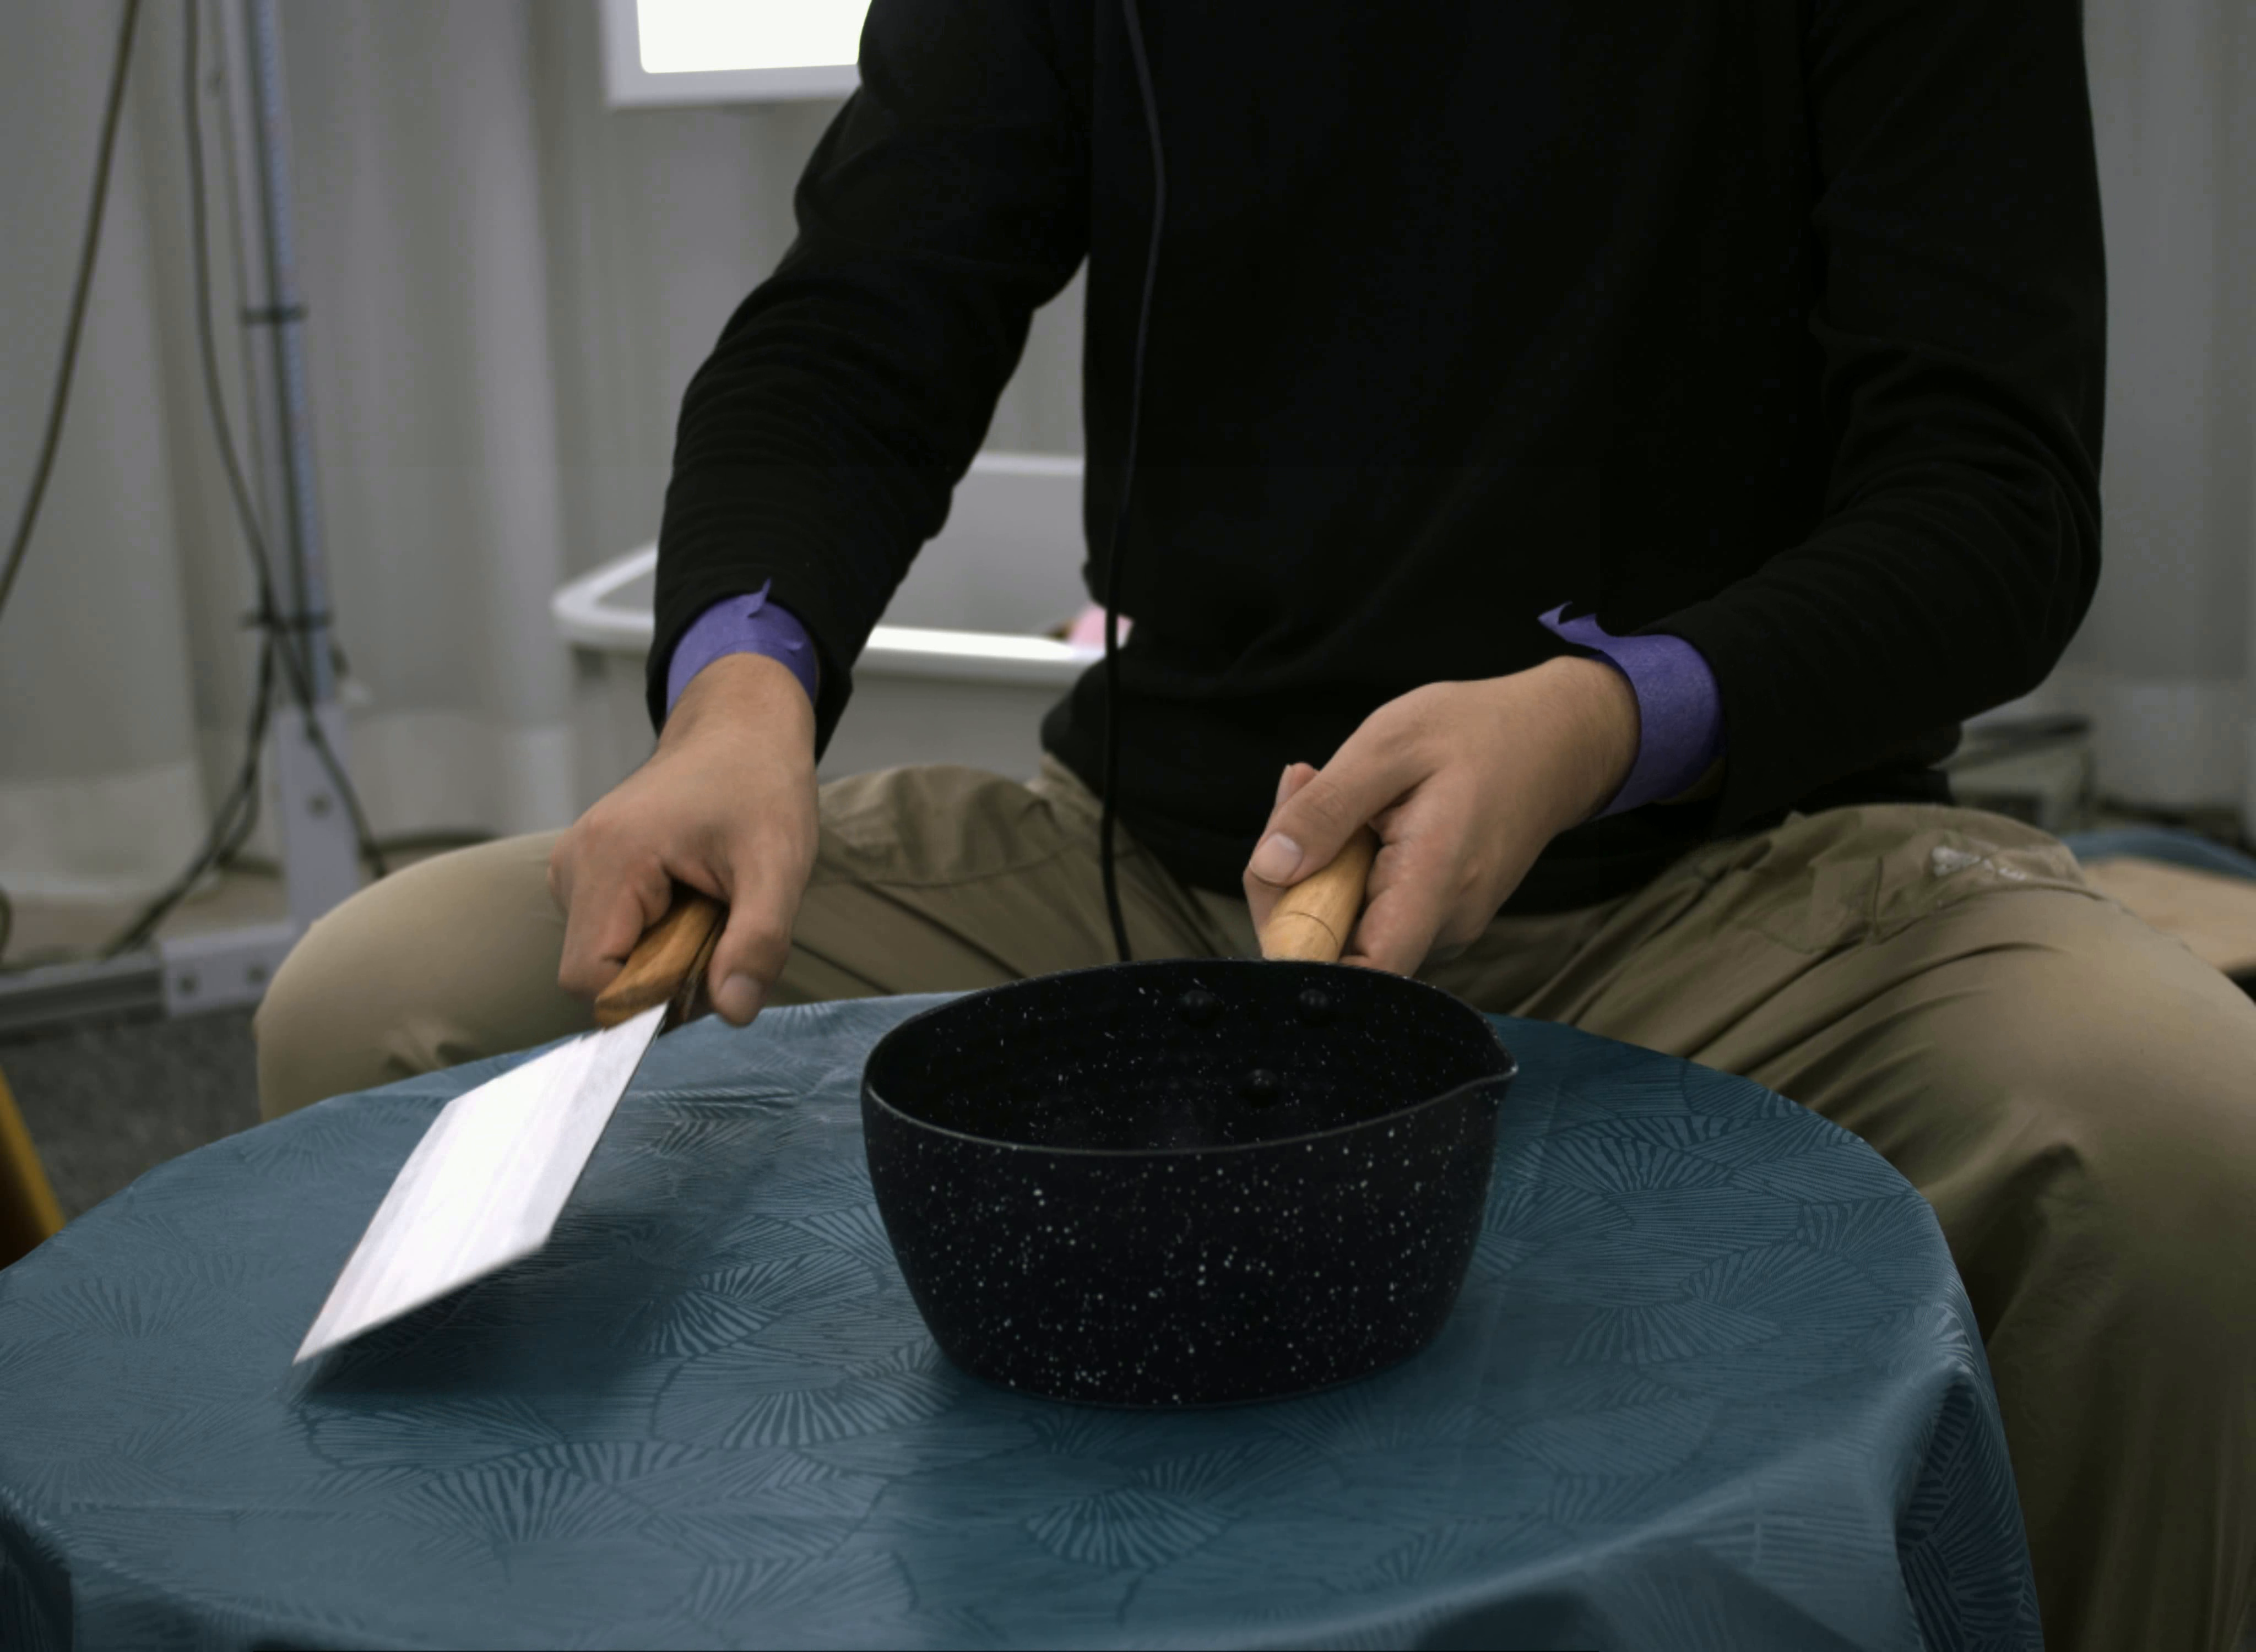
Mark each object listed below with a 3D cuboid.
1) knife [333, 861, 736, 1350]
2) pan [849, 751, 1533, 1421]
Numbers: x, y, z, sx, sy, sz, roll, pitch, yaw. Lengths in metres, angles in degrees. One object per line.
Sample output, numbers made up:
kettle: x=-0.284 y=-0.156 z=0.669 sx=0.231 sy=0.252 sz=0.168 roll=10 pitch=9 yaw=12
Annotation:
knife: x=-0.184 y=0.086 z=1.700 sx=0.092 sy=0.021 sz=0.308 roll=-25 pitch=16 yaw=16
pan: x=0.036 y=0.073 z=1.657 sx=0.207 sy=0.108 sz=0.344 roll=1 pitch=17 yaw=15
